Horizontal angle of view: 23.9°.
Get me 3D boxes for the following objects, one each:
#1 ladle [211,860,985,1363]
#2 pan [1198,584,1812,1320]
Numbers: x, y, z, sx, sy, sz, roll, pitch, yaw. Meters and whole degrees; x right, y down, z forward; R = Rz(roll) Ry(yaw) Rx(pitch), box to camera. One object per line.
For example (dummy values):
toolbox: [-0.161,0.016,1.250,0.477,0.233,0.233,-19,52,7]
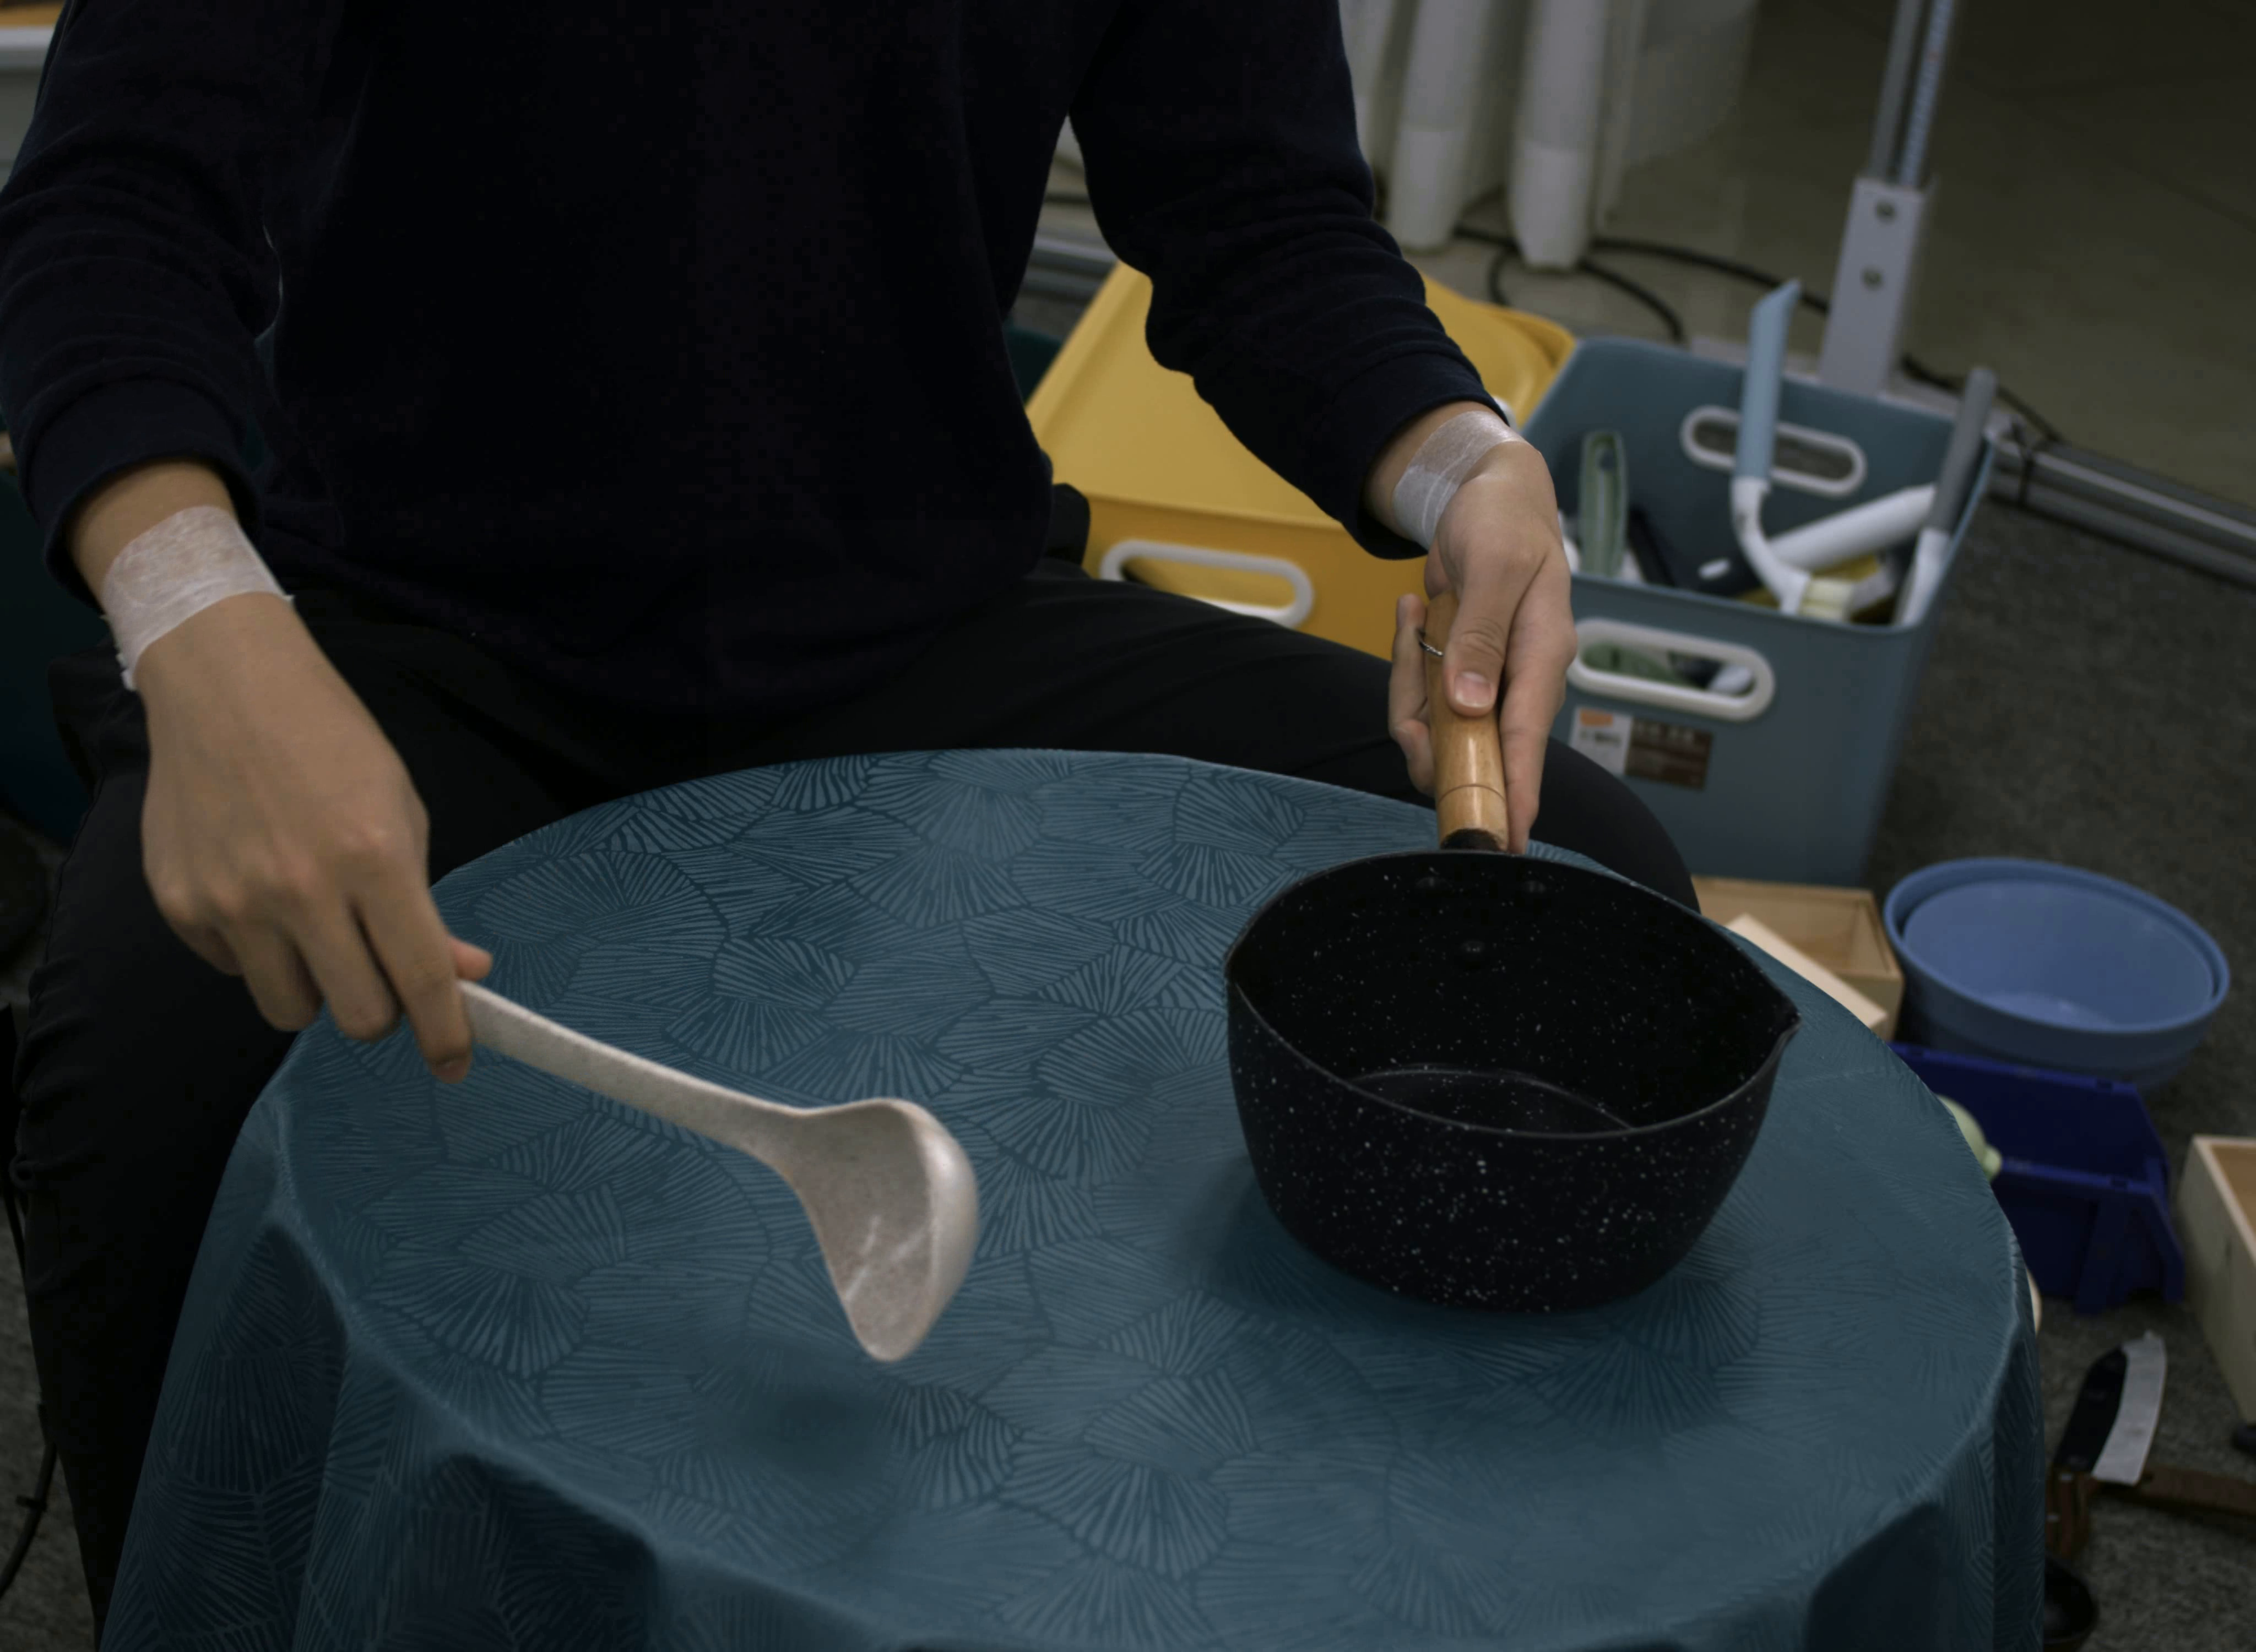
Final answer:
ladle: [-0.173,0.084,1.654,0.274,0.089,0.069,21,43,5]
pan: [0.121,0.040,1.864,0.207,0.108,0.345,3,30,-4]
